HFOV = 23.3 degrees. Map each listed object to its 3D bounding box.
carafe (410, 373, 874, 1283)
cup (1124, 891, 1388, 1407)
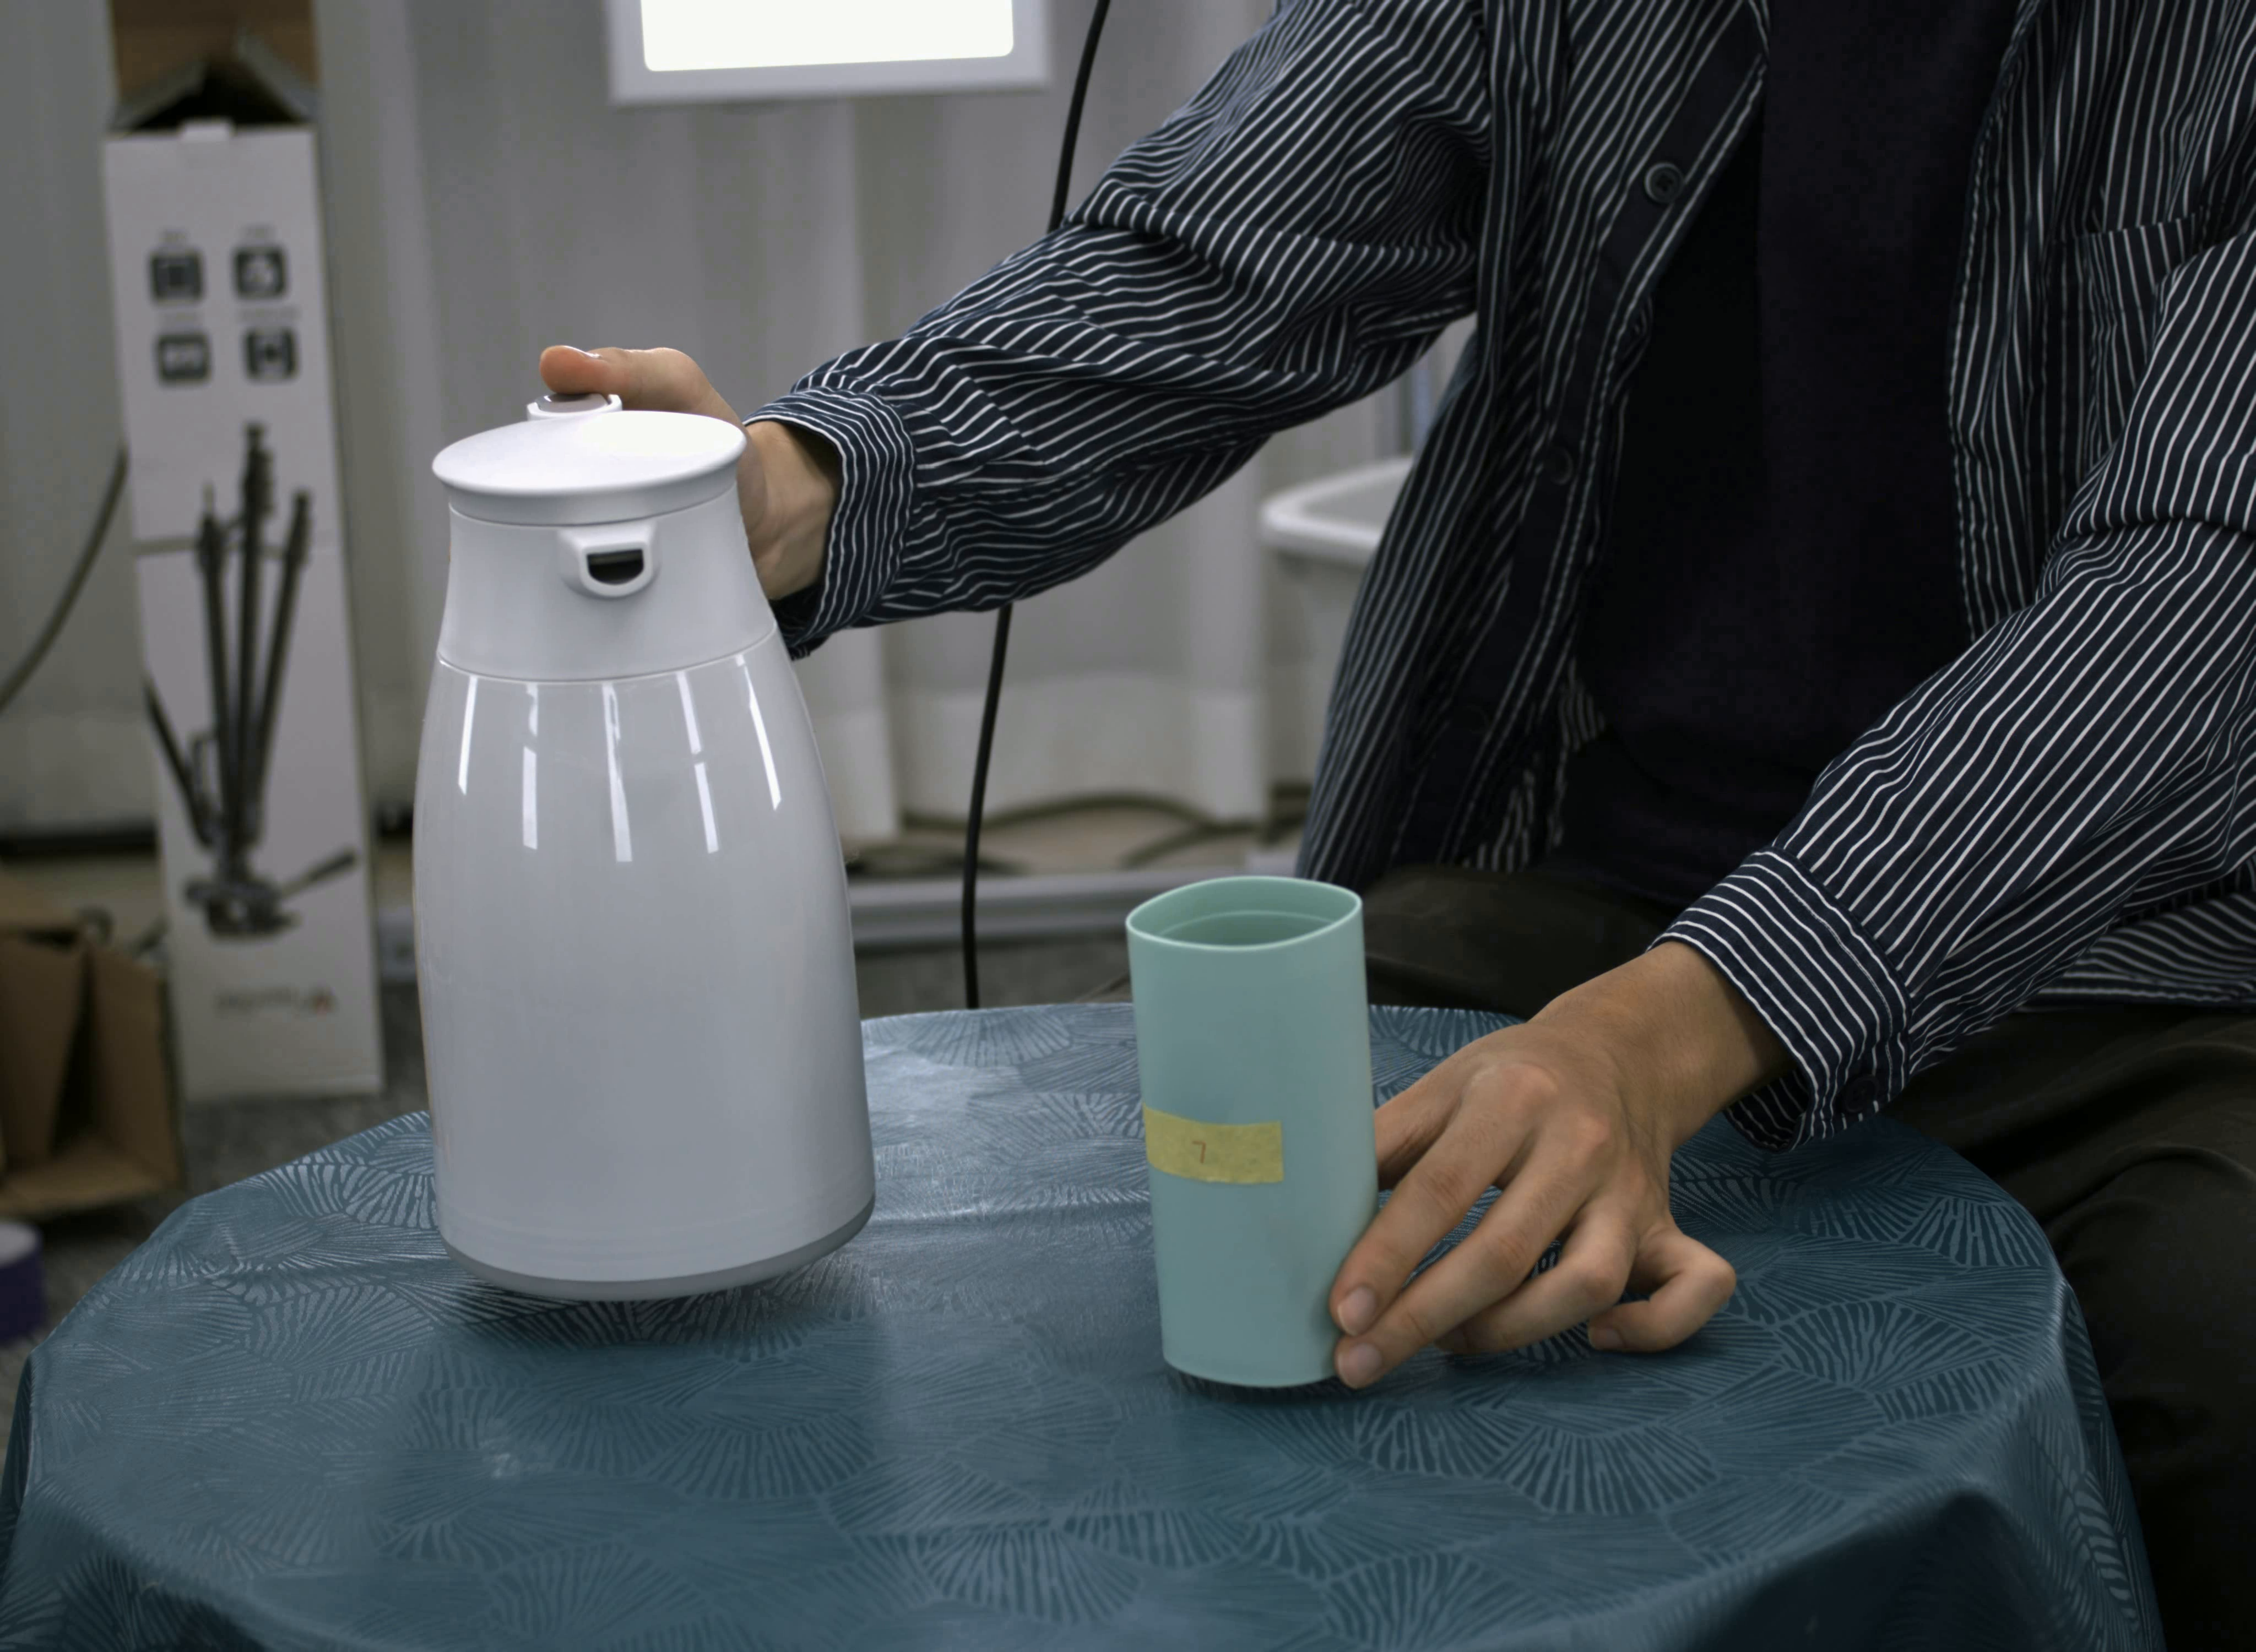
[{"bbox_3d":[-0.156,-0.008,1.640,0.132,0.247,0.169,-8,16,-12],"label":"carafe"},{"bbox_3d":[0.038,0.090,1.539,0.066,0.132,0.067,-5,15,1],"label":"cup"}]
